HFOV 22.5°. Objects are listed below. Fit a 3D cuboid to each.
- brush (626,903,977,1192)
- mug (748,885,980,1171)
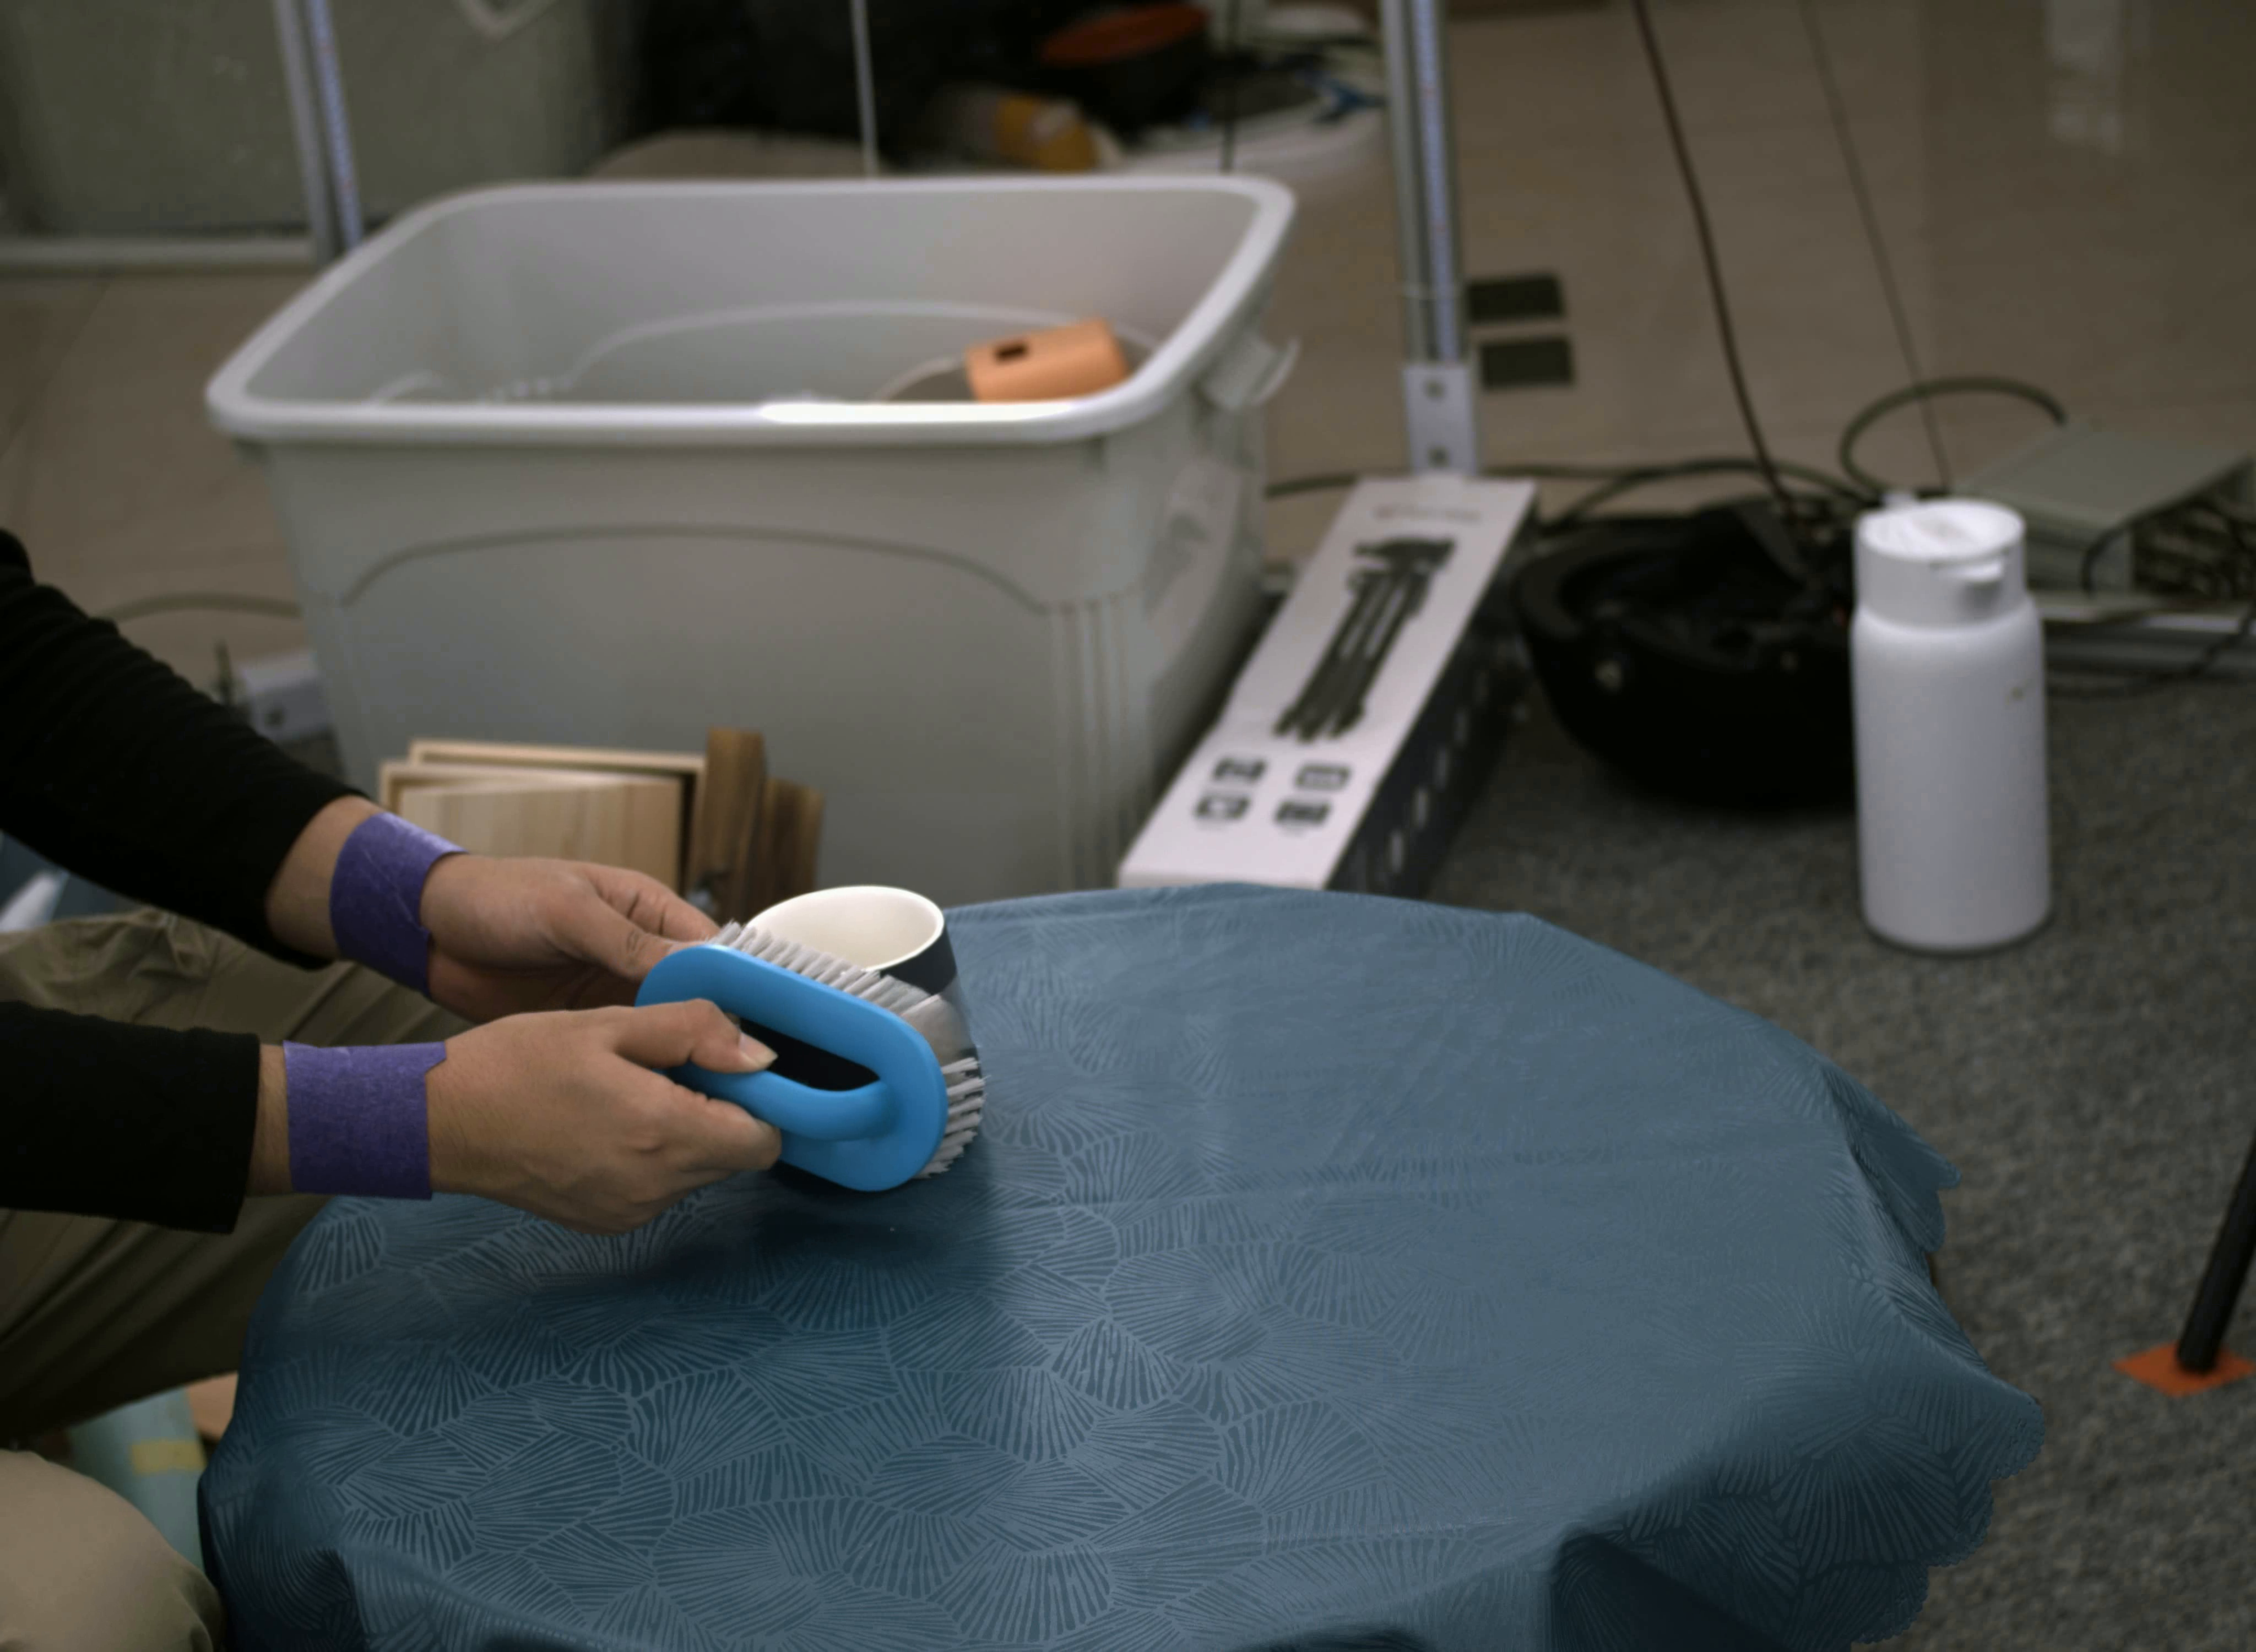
[{"bbox_3d":[-0.130,0.087,2.111,0.141,0.085,0.063,23,26,24],"label":"brush"},{"bbox_3d":[-0.120,0.078,2.193,0.123,0.091,0.092,4,27,18],"label":"mug"}]
